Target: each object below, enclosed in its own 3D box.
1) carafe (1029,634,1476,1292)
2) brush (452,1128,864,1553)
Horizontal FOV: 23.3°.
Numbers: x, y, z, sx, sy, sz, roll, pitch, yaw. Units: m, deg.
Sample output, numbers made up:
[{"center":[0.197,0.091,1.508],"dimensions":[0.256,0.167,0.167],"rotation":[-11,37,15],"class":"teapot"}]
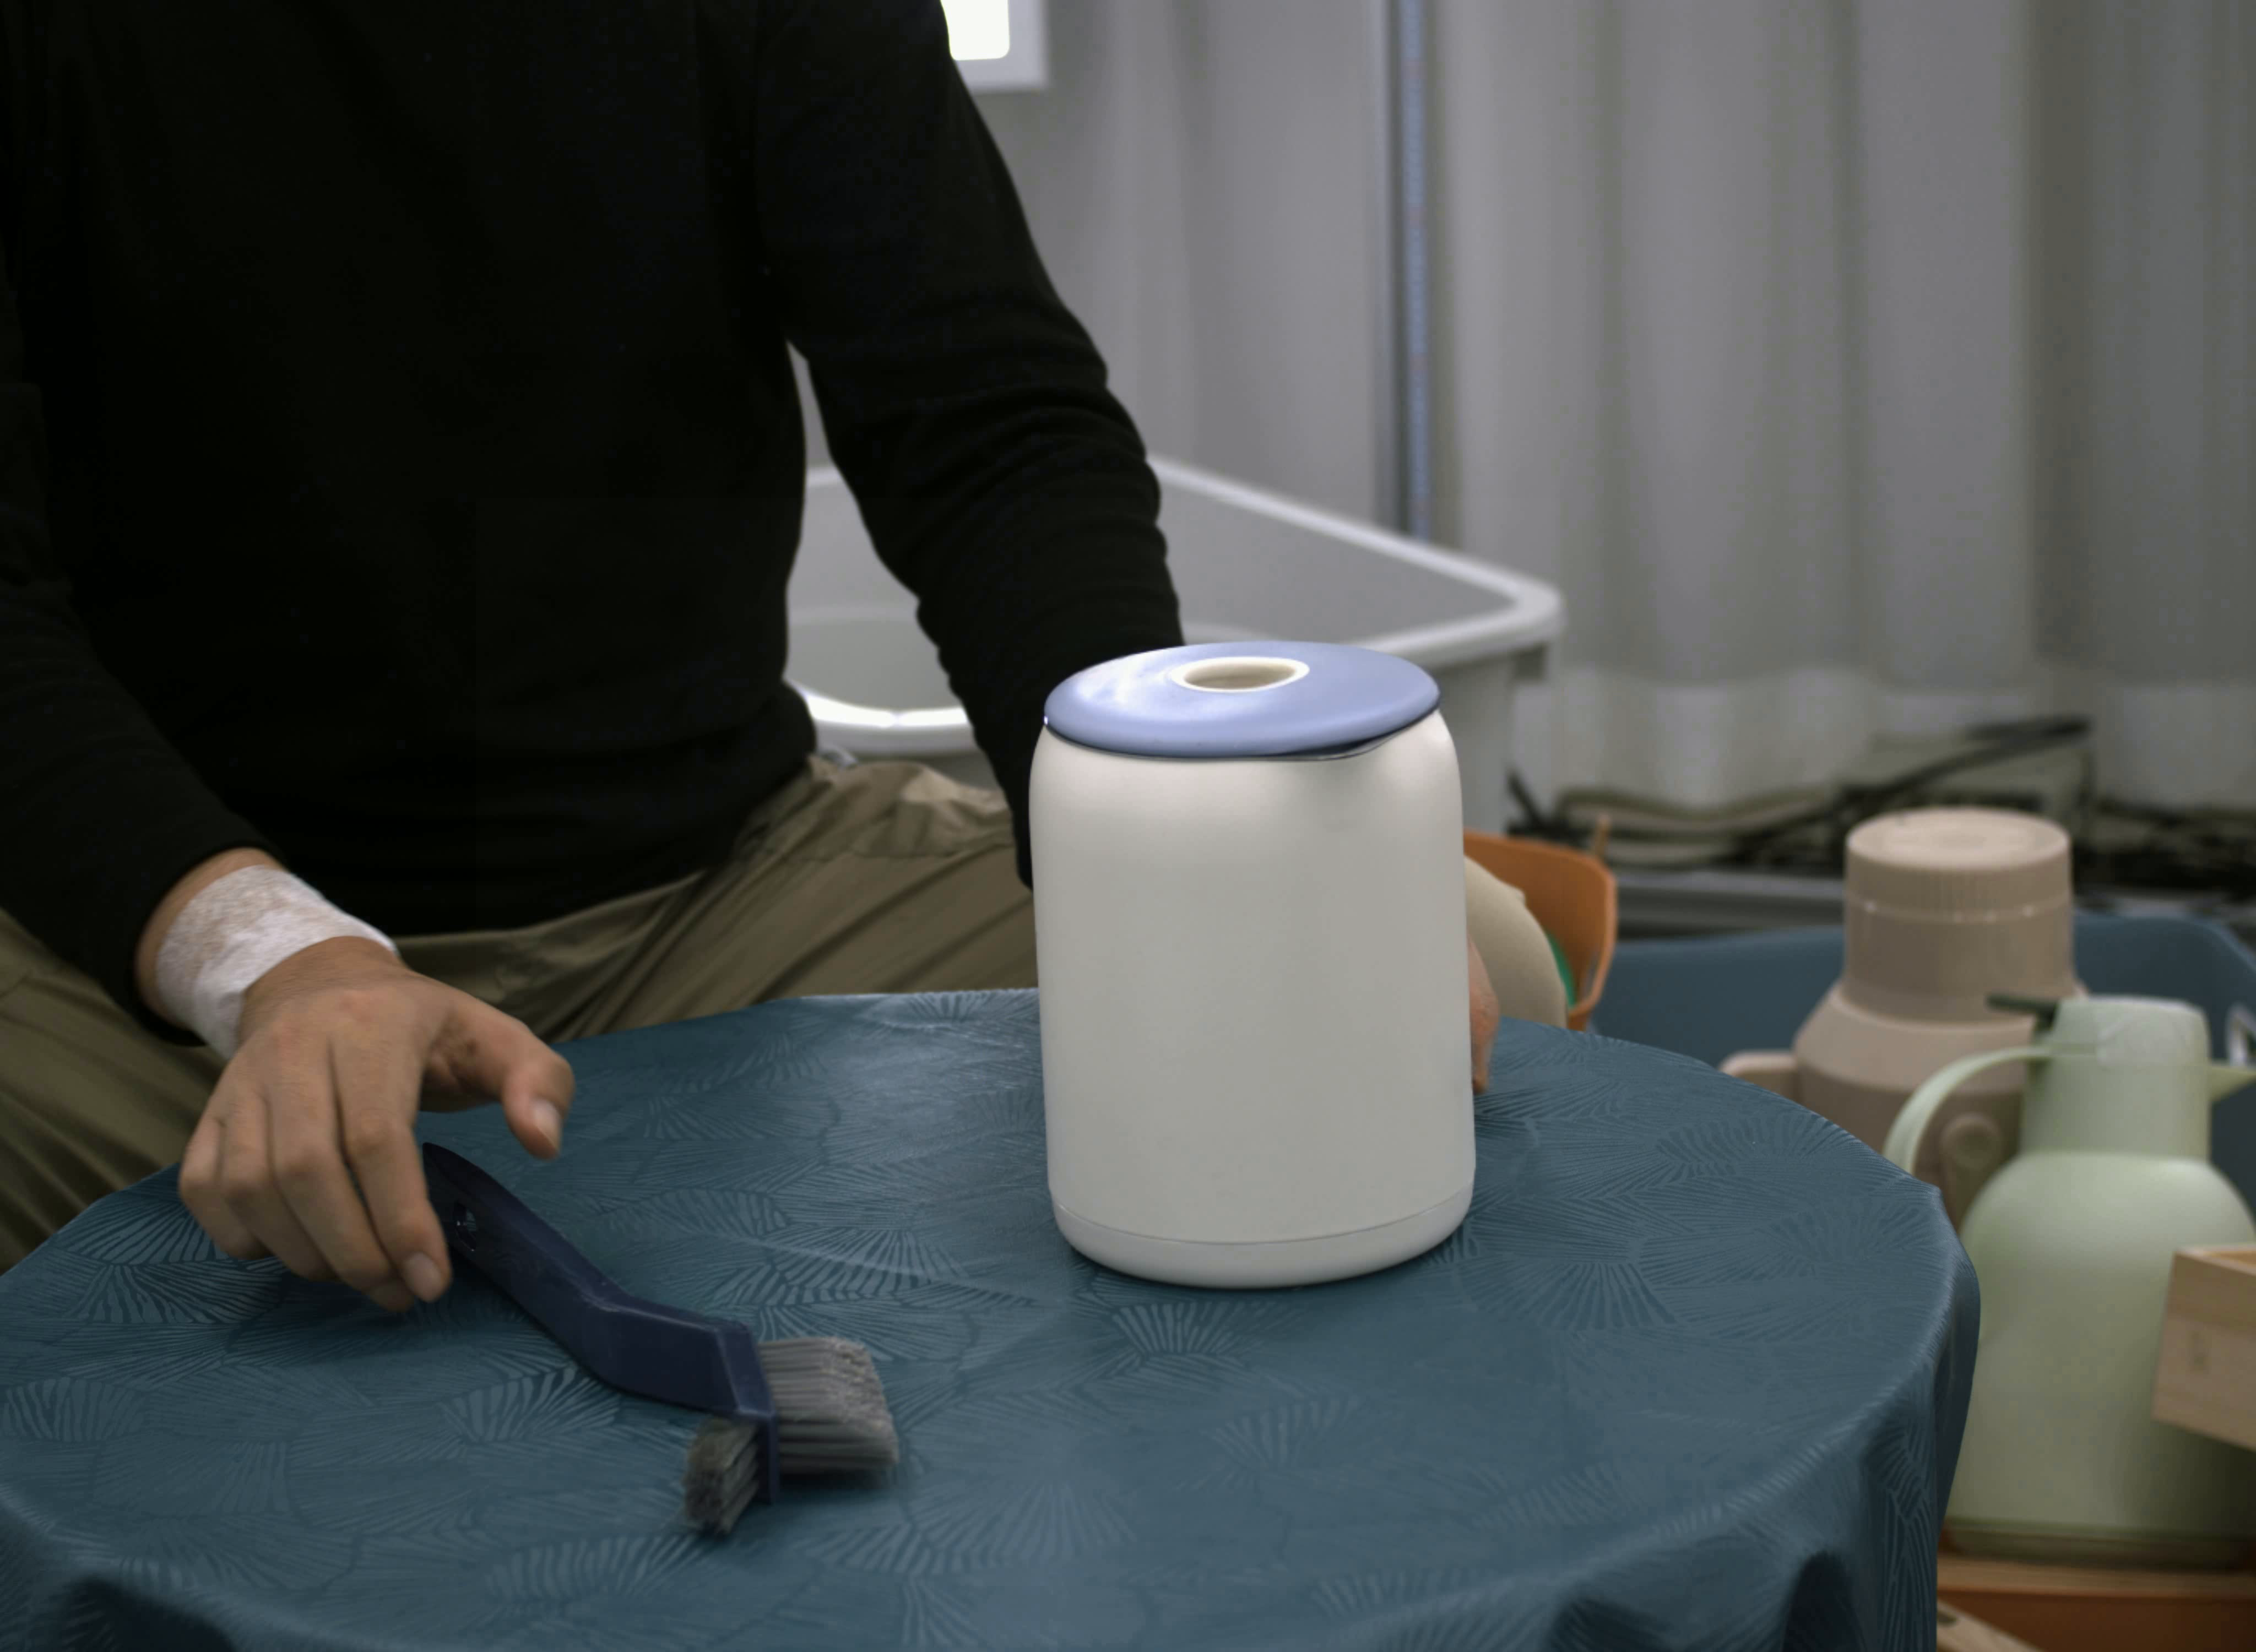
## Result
[{"center":[0.027,0.035,1.677],"dimensions":[0.131,0.182,0.192],"rotation":[-9,14,-26],"class":"carafe"},{"center":[-0.157,0.144,1.577],"dimensions":[0.095,0.033,0.275],"rotation":[-15,19,-30],"class":"brush"}]
